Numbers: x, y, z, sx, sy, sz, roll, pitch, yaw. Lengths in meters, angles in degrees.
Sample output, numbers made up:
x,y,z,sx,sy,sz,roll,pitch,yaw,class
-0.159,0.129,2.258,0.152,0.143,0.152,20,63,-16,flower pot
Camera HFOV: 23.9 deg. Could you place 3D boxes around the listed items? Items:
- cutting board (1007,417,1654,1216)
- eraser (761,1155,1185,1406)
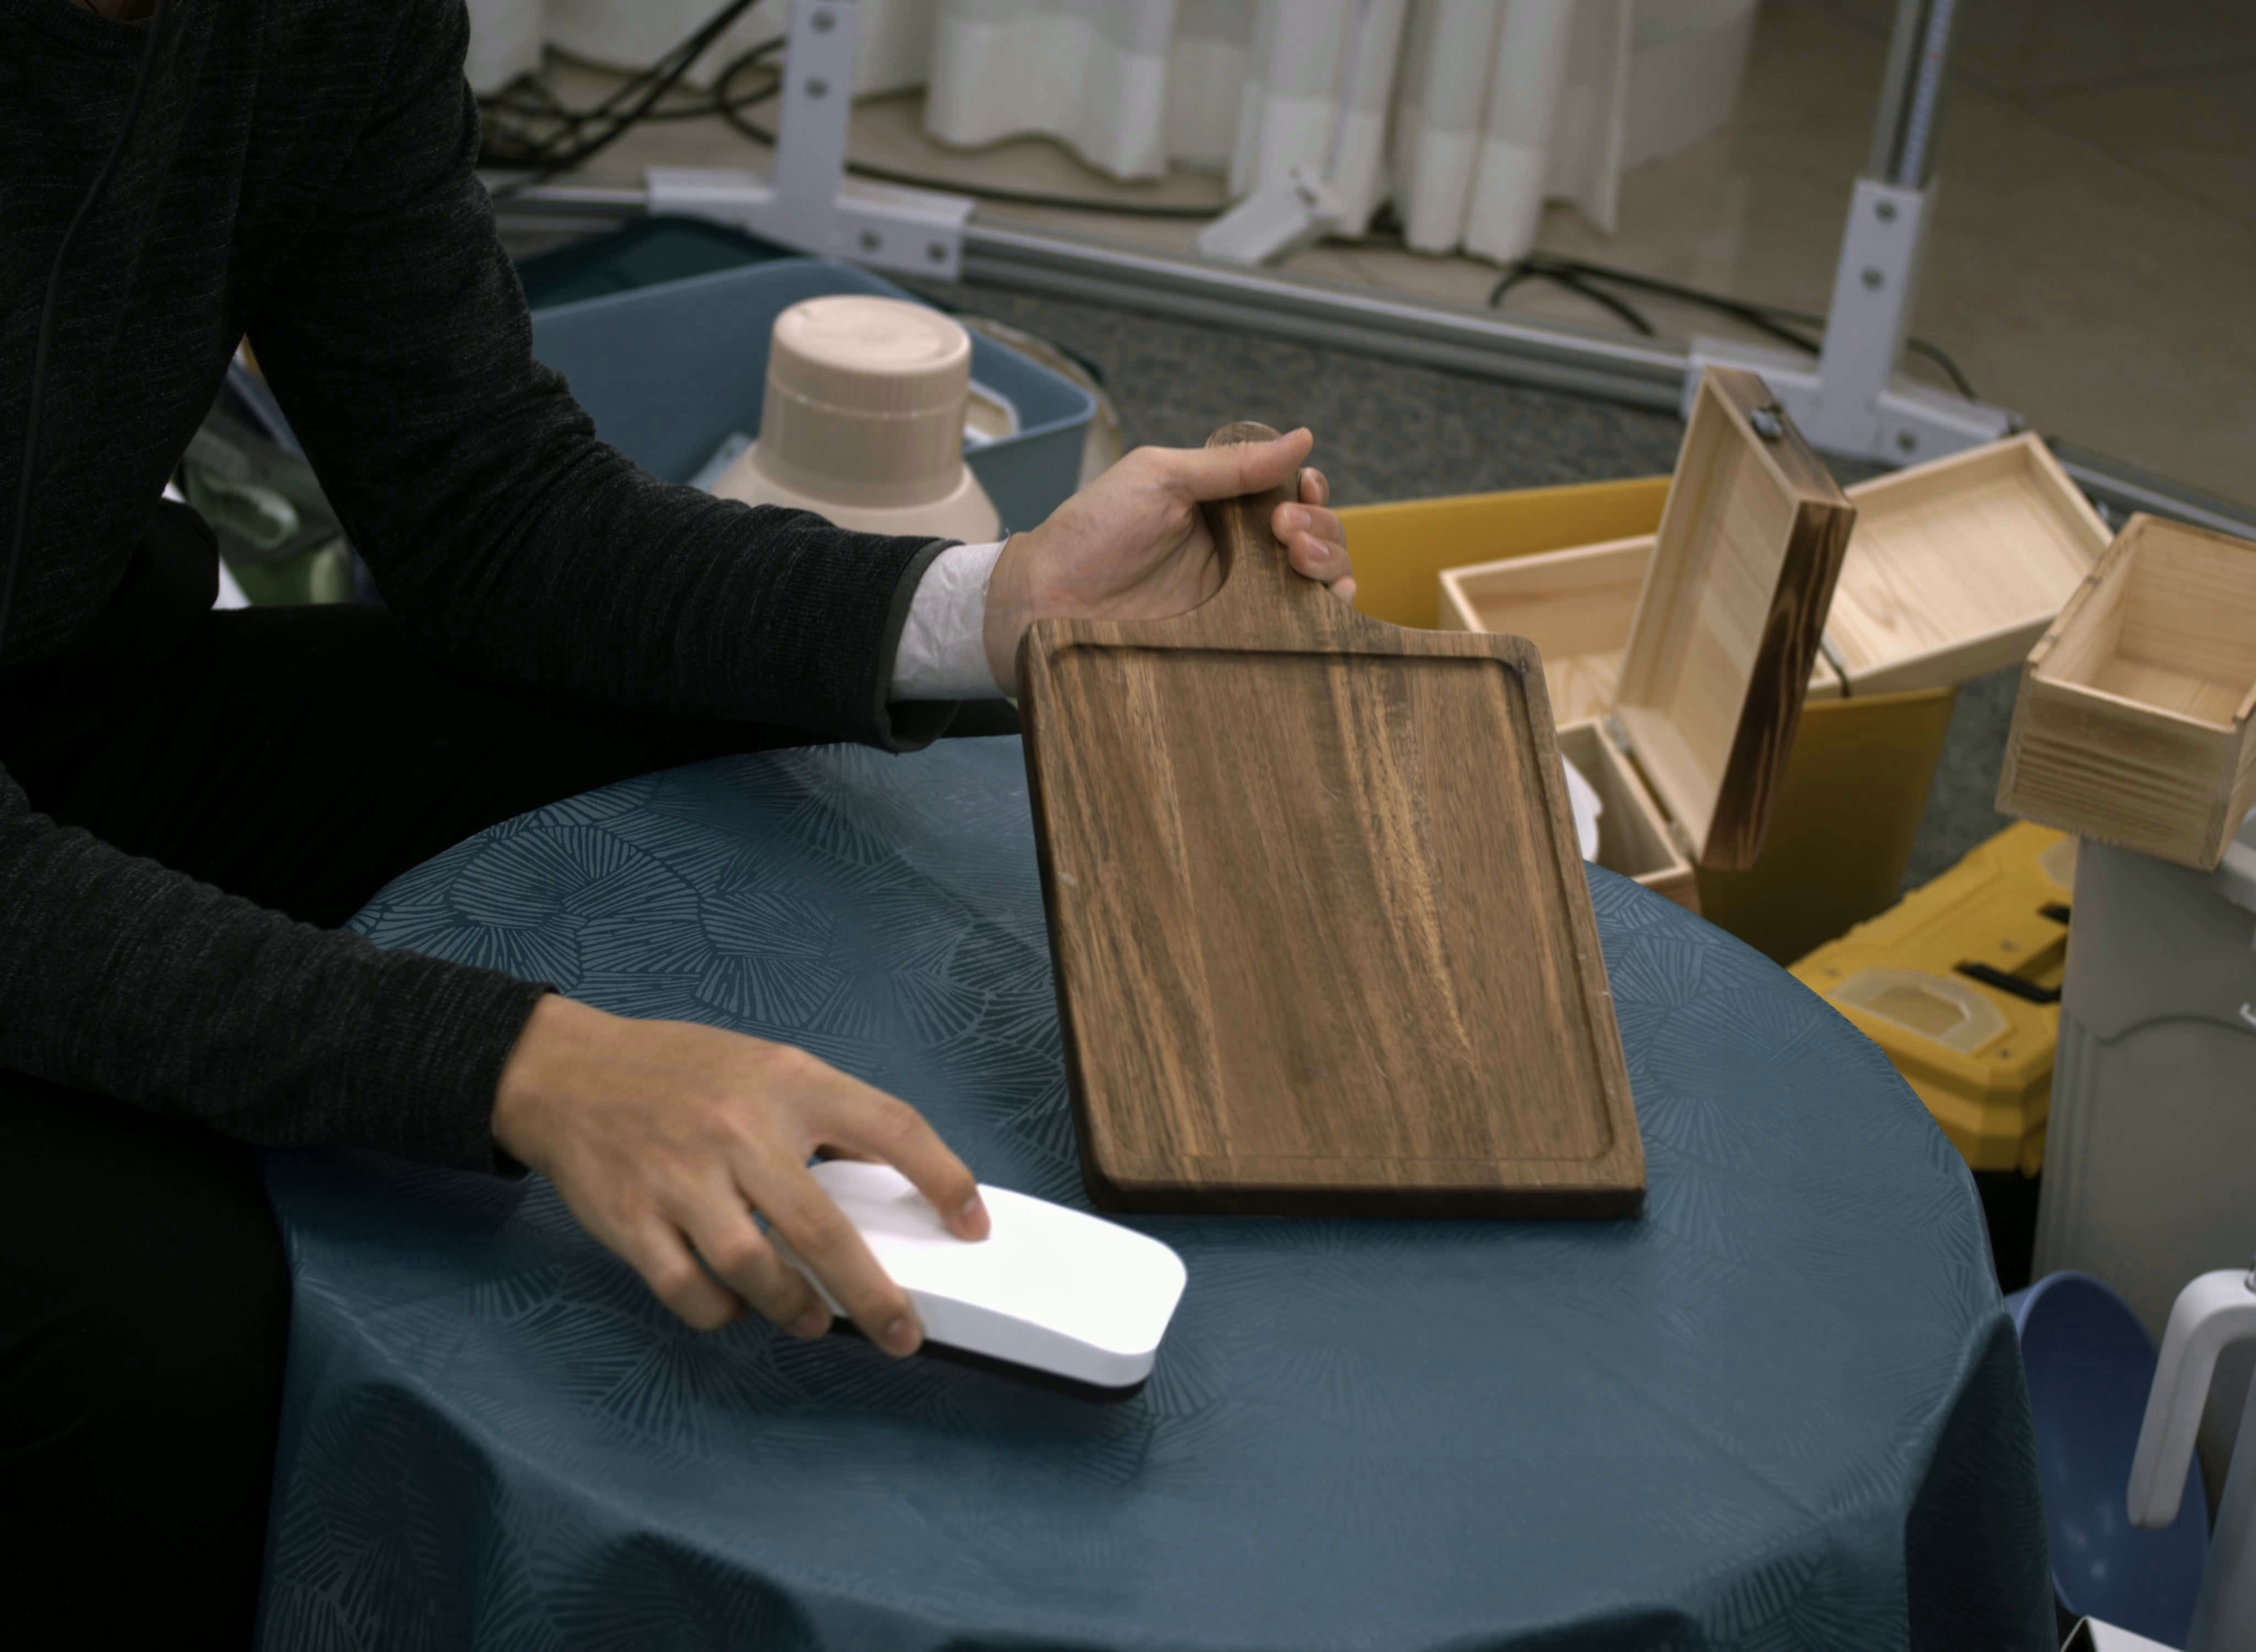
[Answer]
x,y,z,sx,sy,sz,roll,pitch,yaw,class
0.062,-0.010,1.903,0.200,0.023,0.355,1,51,-12,cutting board
-0.049,0.141,1.679,0.131,0.034,0.063,15,34,9,eraser
